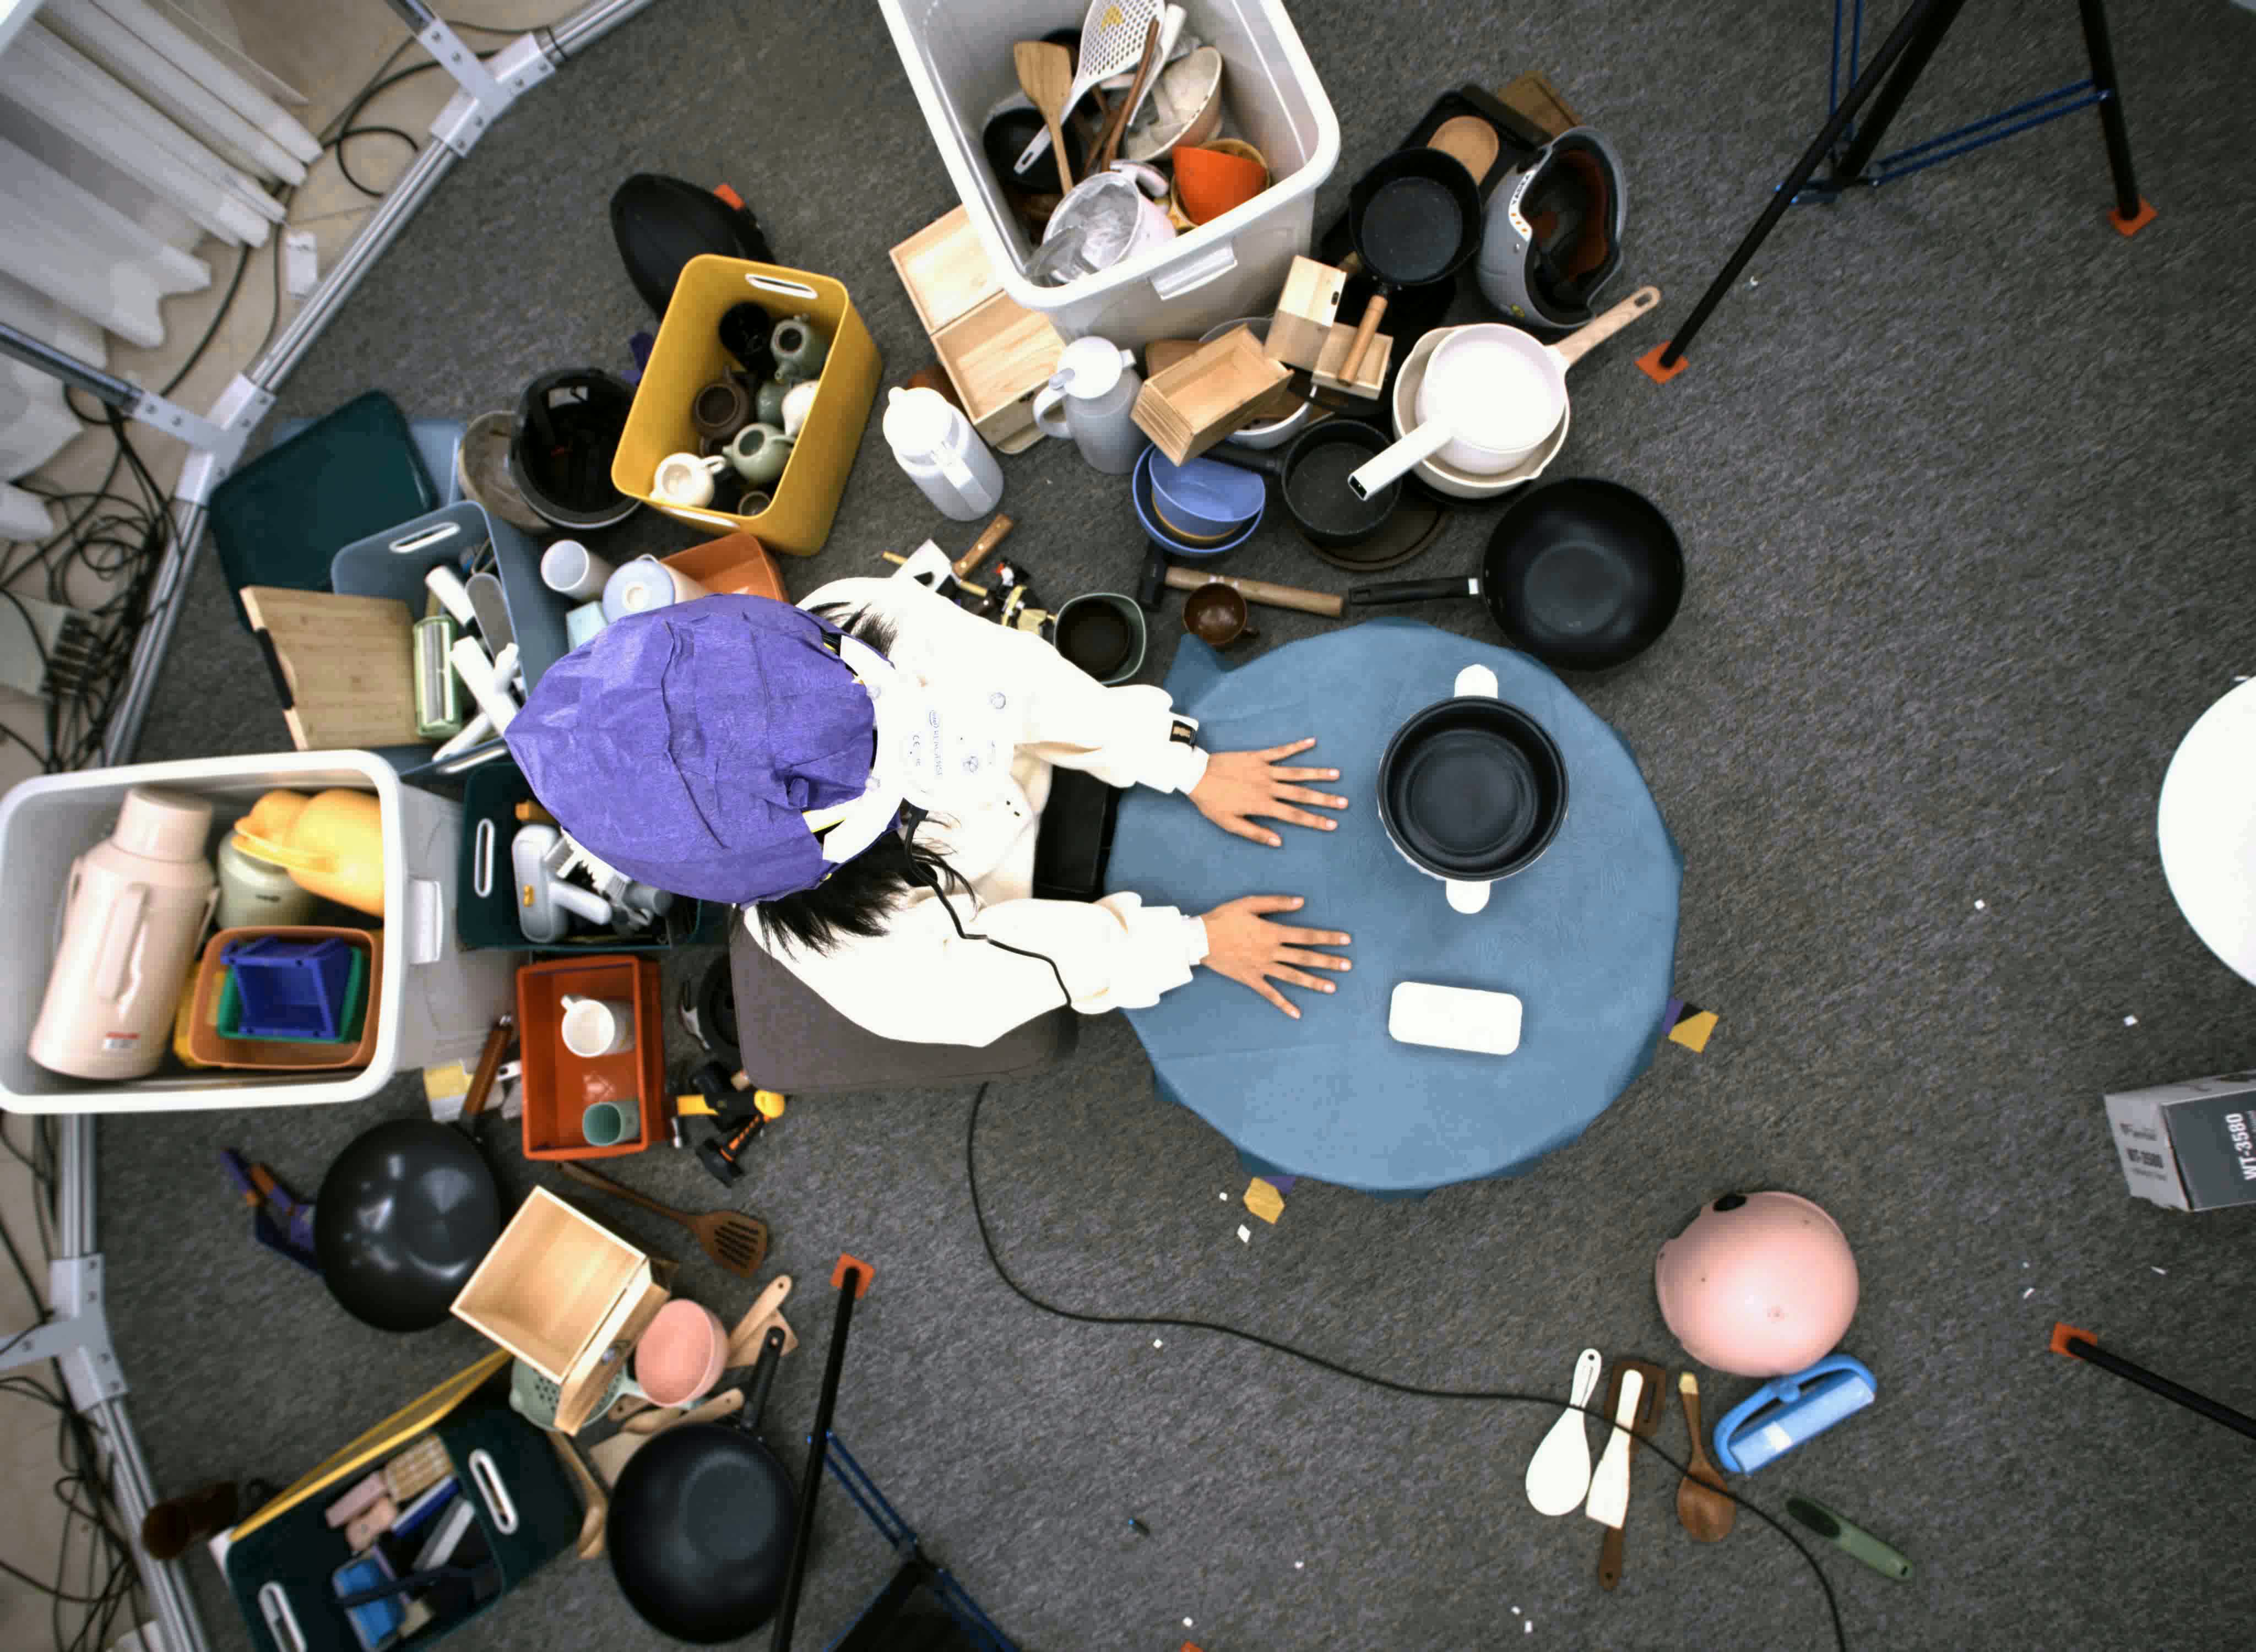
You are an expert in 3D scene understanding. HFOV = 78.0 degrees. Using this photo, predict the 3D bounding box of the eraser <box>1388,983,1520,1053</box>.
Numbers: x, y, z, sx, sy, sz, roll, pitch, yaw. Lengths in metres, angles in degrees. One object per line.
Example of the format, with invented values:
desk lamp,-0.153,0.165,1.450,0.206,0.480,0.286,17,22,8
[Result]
eraser,0.337,0.195,1.426,0.131,0.034,0.063,6,85,11

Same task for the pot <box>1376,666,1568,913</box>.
pot,0.347,-0.033,1.381,0.191,0.142,0.239,2,87,14
